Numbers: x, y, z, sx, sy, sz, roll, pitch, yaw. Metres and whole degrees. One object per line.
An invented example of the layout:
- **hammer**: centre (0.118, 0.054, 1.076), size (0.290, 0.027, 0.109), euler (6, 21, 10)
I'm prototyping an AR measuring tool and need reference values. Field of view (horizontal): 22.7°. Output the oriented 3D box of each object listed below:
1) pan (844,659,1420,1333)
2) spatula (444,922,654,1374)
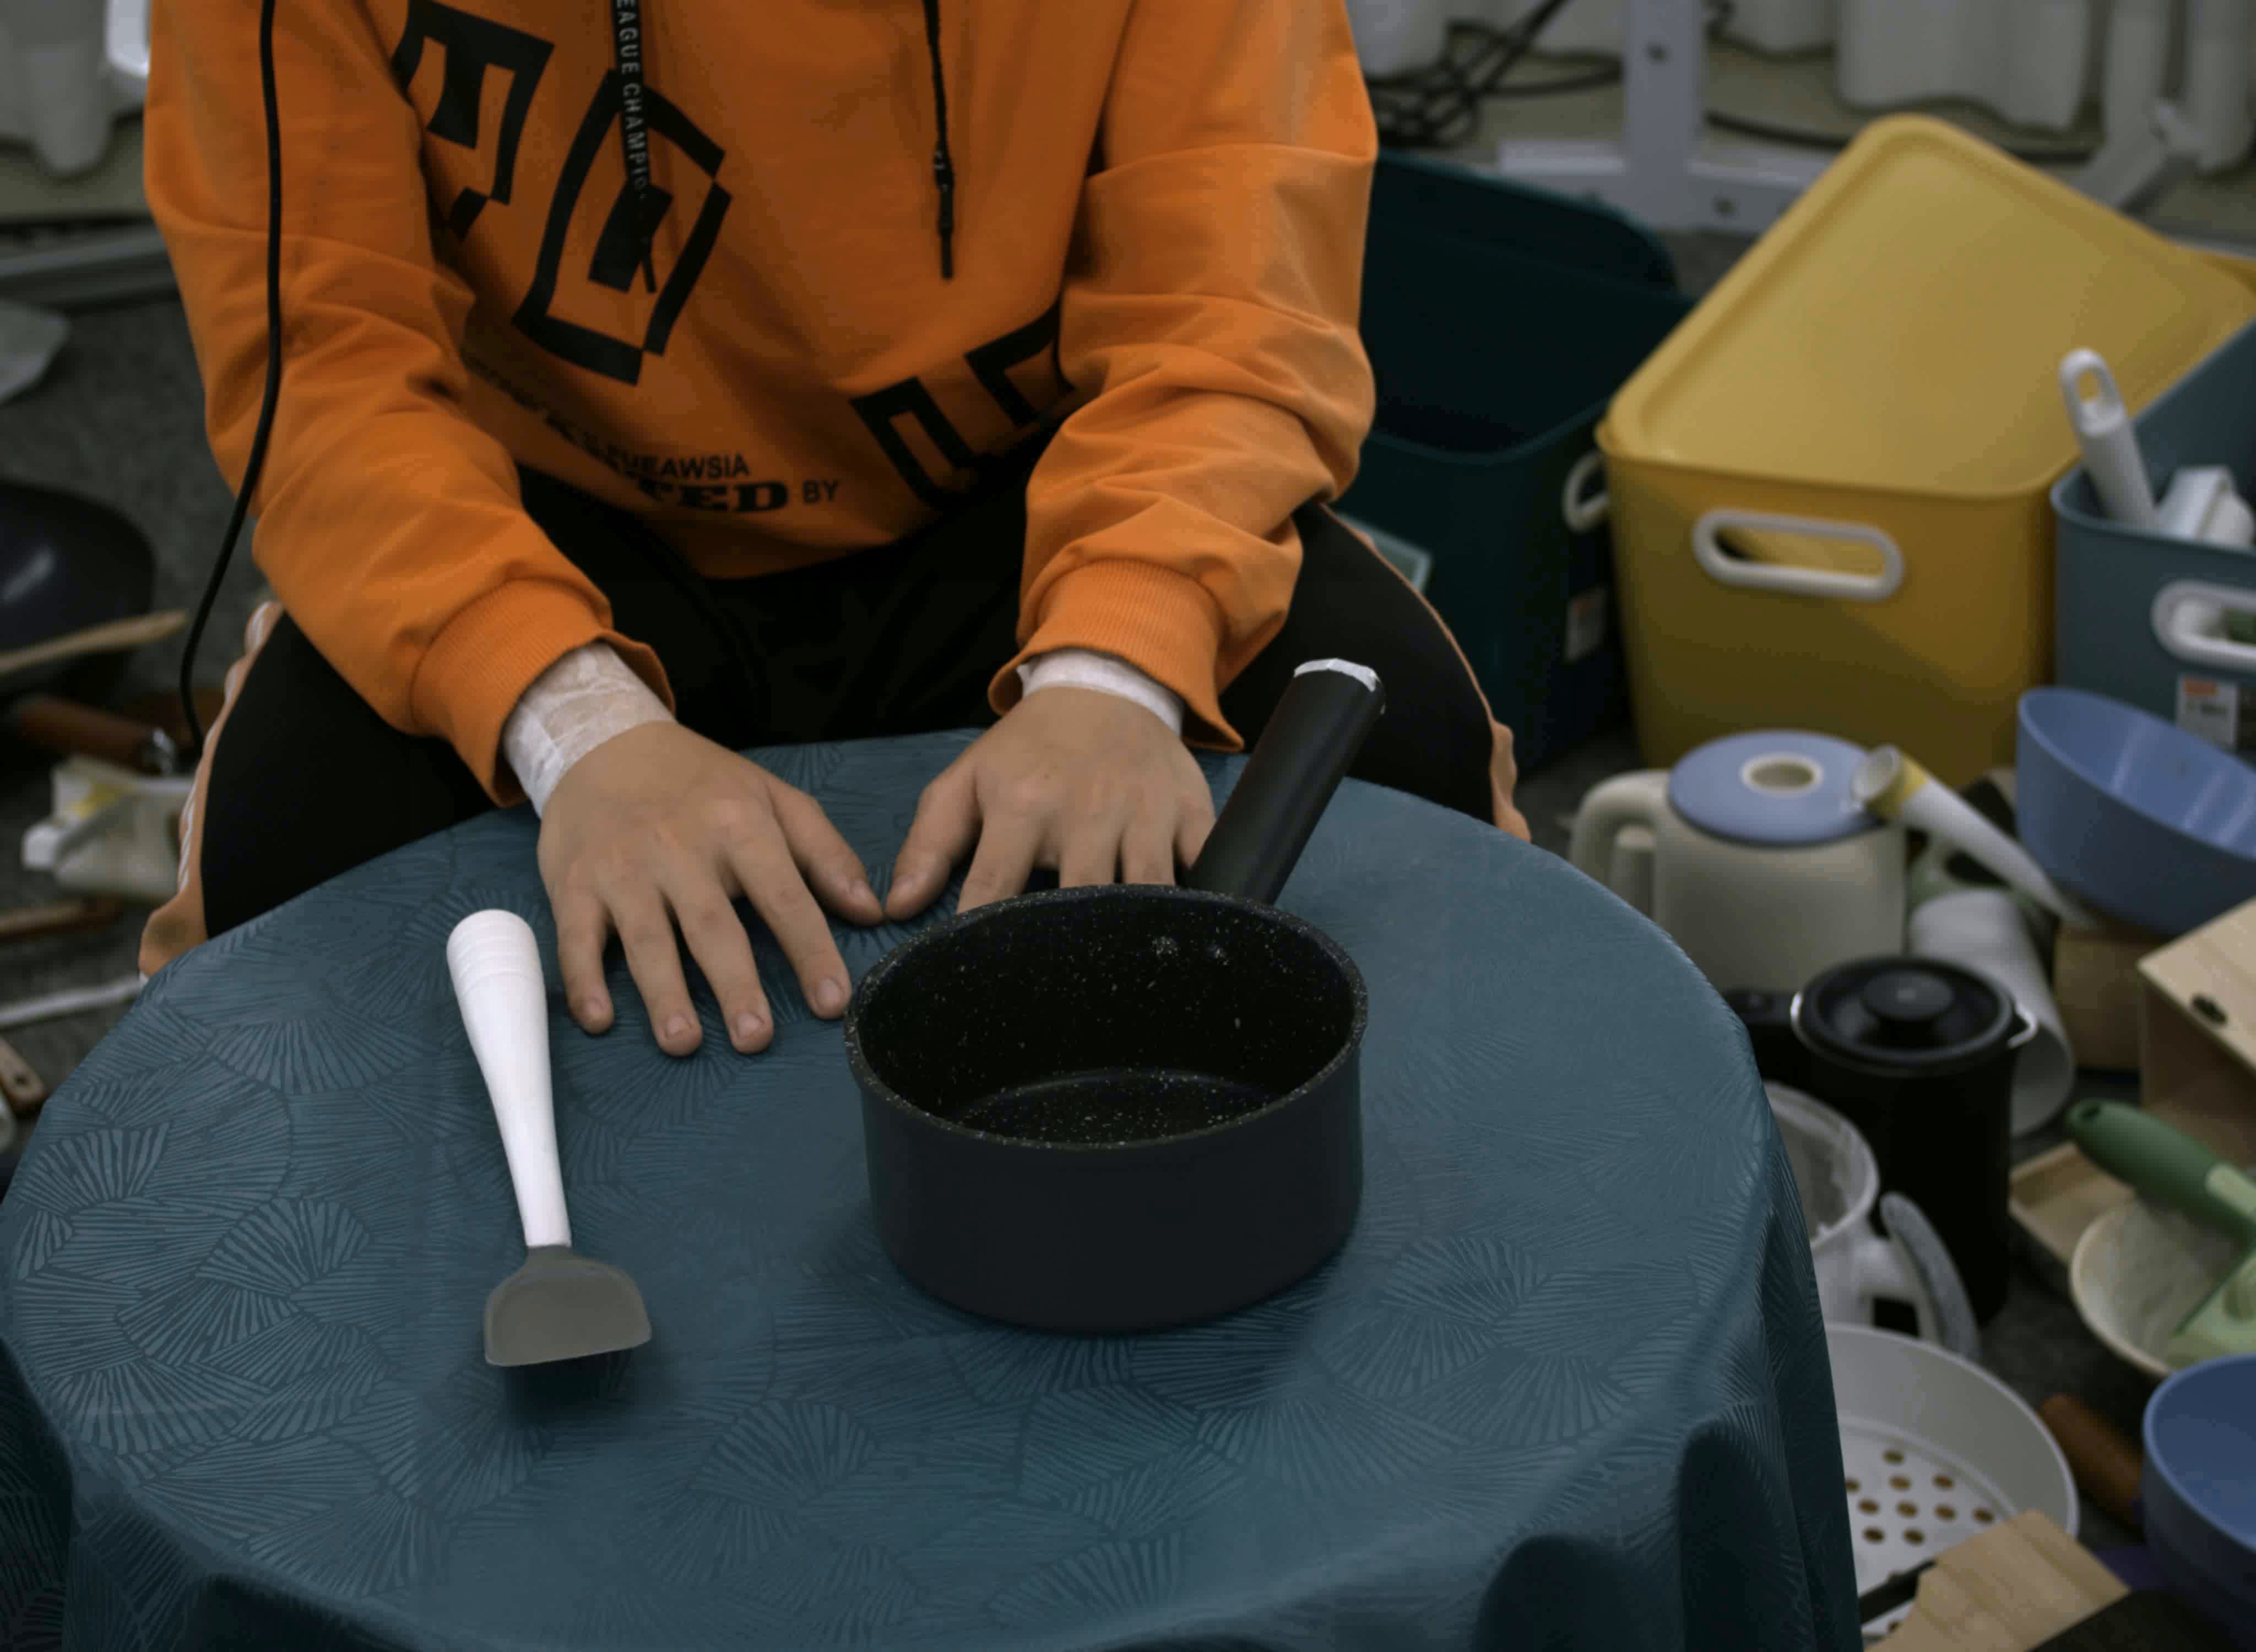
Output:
- **pan**: centre (0.025, 0.053, 1.901), size (0.171, 0.085, 0.334), euler (9, 31, 21)
- **spatula**: centre (-0.199, 0.111, 1.868), size (0.058, 0.032, 0.291), euler (-3, 26, -10)
